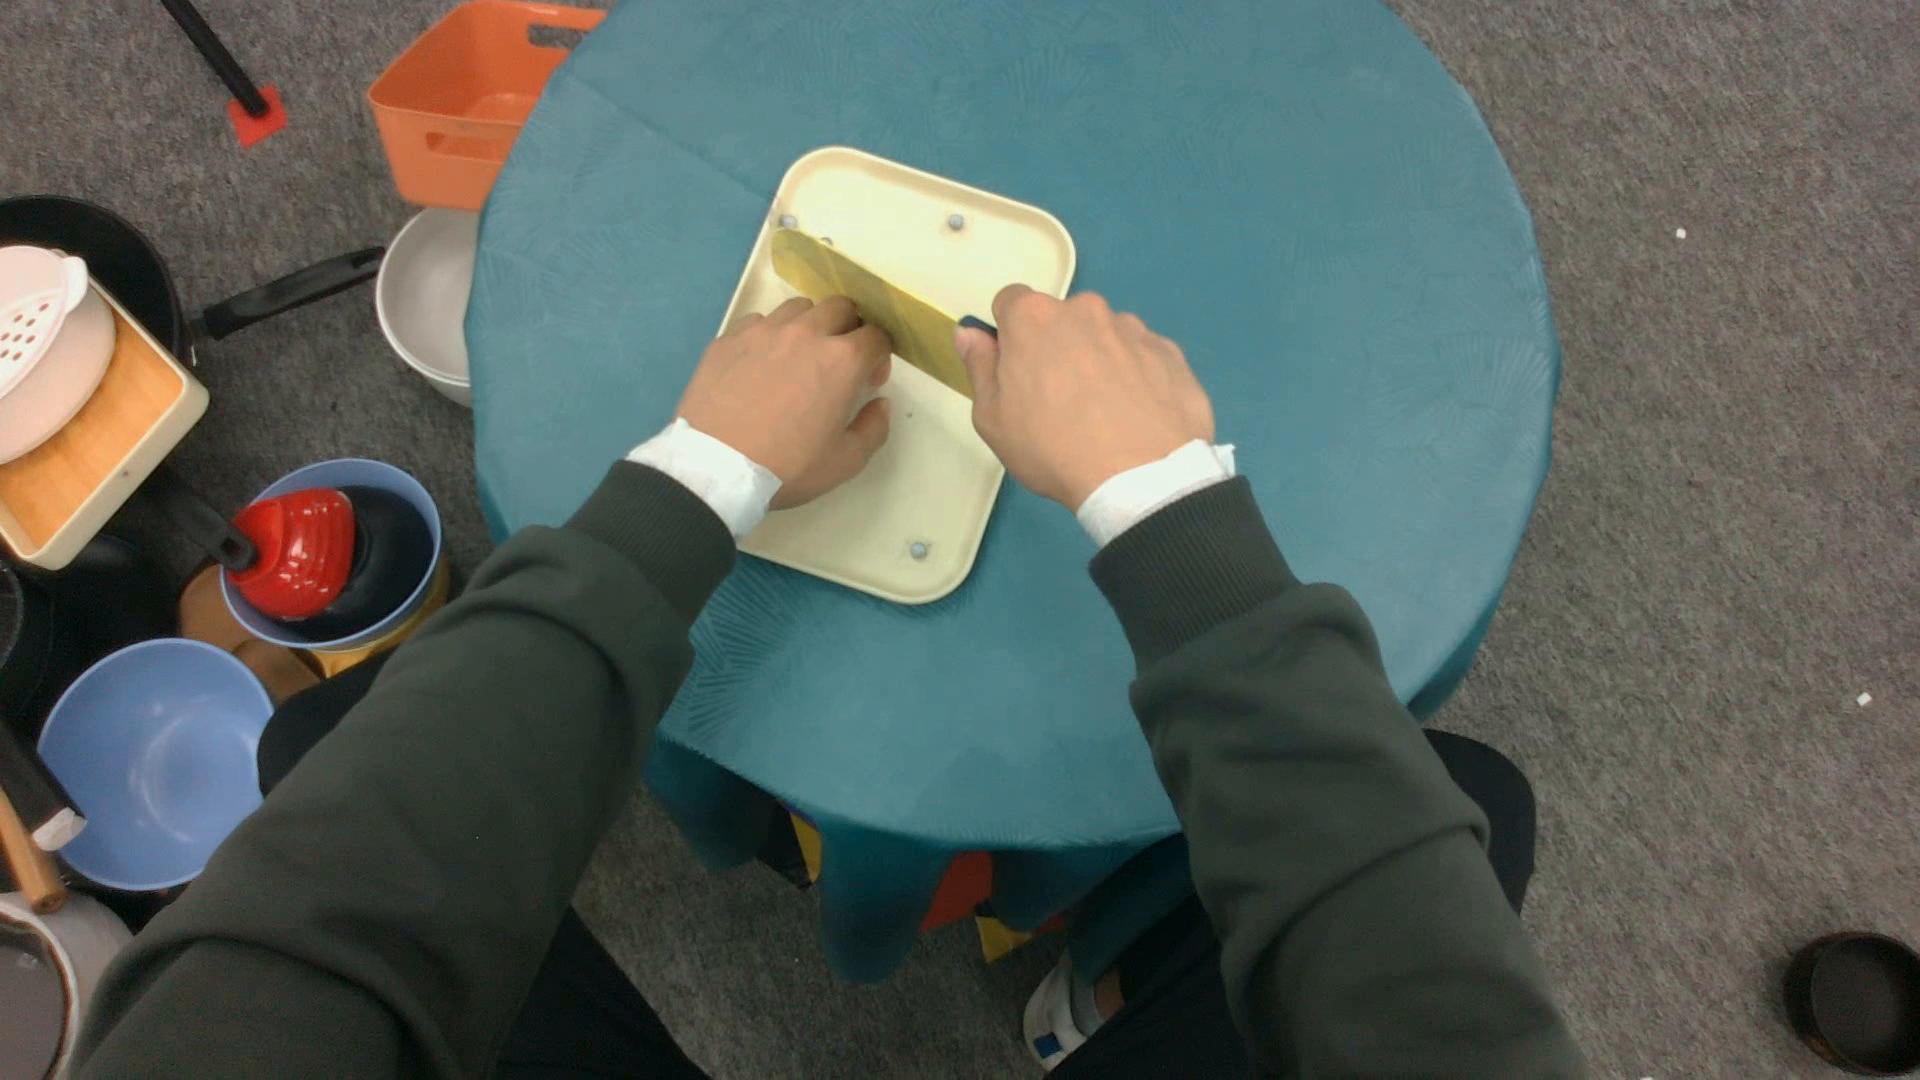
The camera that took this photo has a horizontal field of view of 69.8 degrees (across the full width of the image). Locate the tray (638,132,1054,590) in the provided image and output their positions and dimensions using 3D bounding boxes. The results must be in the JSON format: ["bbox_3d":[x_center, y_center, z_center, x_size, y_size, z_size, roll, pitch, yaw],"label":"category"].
[{"bbox_3d":[-0.057,-0.099,0.737,0.171,0.017,0.240,18,73,2],"label":"tray"}]

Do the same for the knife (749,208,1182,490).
[{"bbox_3d":[-0.010,-0.093,0.655,0.289,0.081,0.027,35,76,32],"label":"knife"}]
